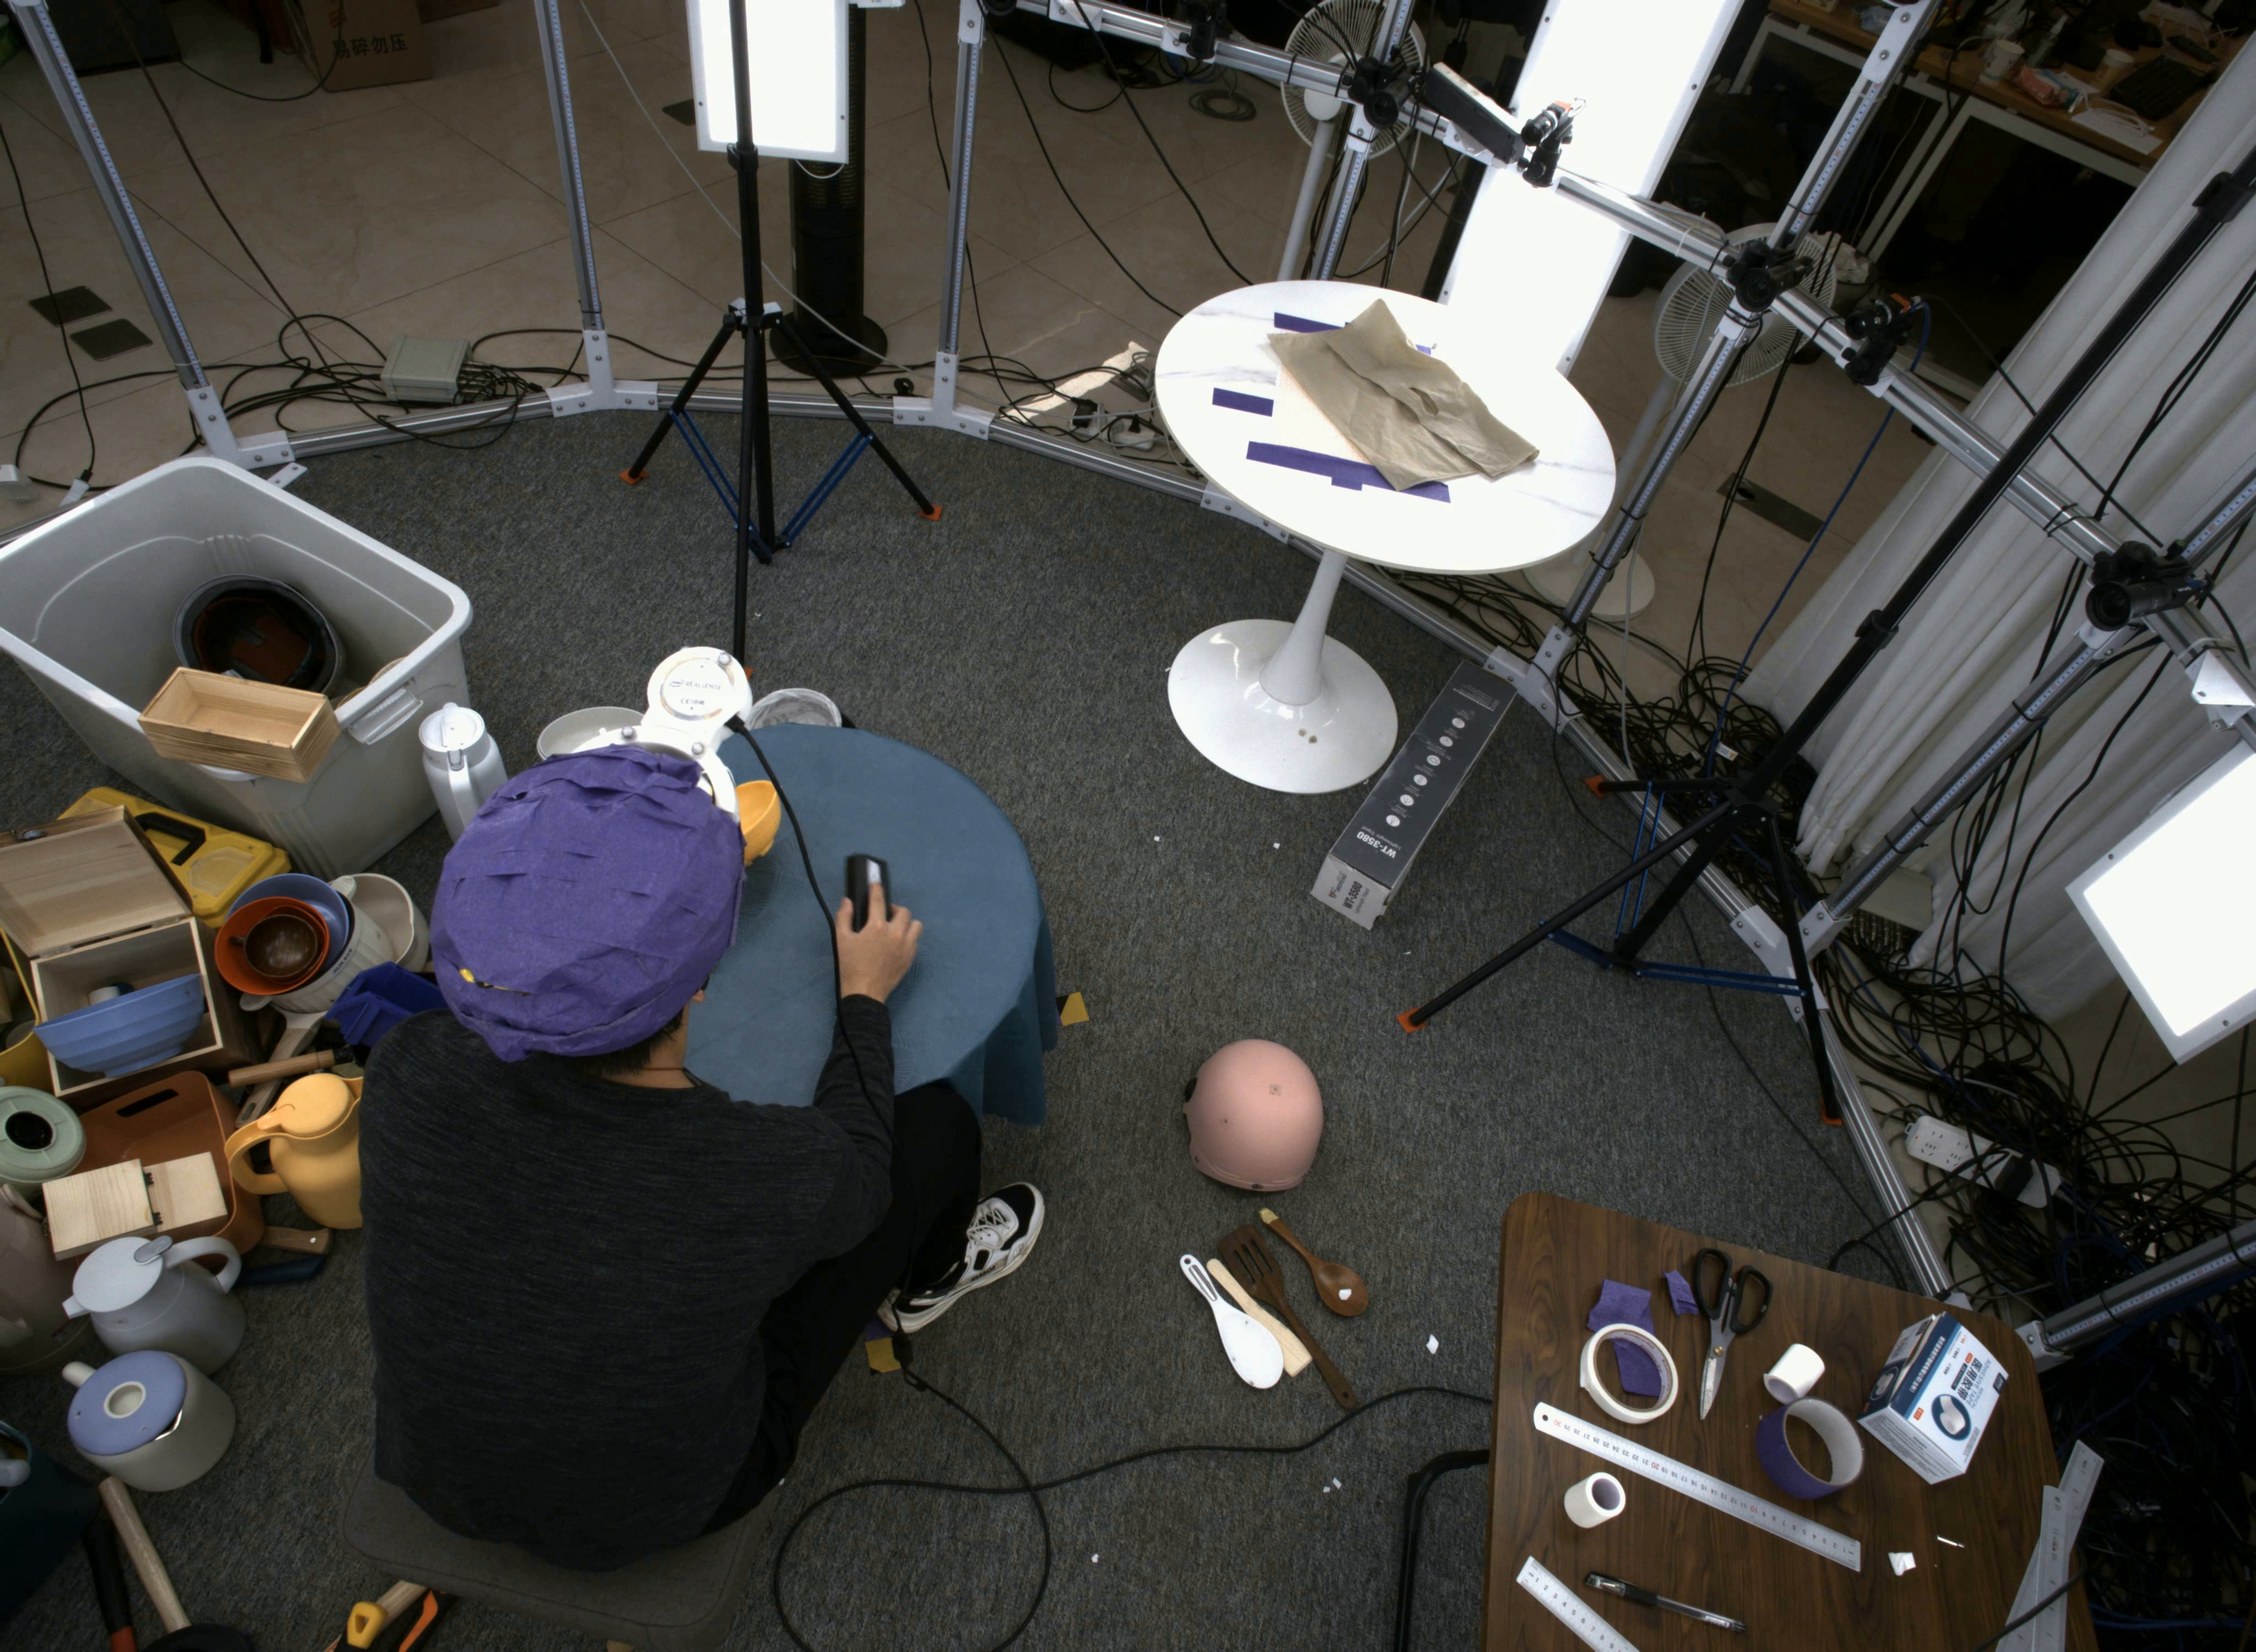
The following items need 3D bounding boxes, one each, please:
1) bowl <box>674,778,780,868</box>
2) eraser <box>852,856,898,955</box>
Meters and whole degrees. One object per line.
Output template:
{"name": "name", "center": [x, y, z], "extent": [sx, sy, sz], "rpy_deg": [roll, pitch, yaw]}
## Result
{"name": "bowl", "center": [-0.495, 0.007, 1.630], "extent": [0.143, 0.062, 0.142], "rpy_deg": [-16, 35, 13]}
{"name": "eraser", "center": [-0.316, 0.096, 1.616], "extent": [0.055, 0.030, 0.123], "rpy_deg": [19, 46, -33]}
